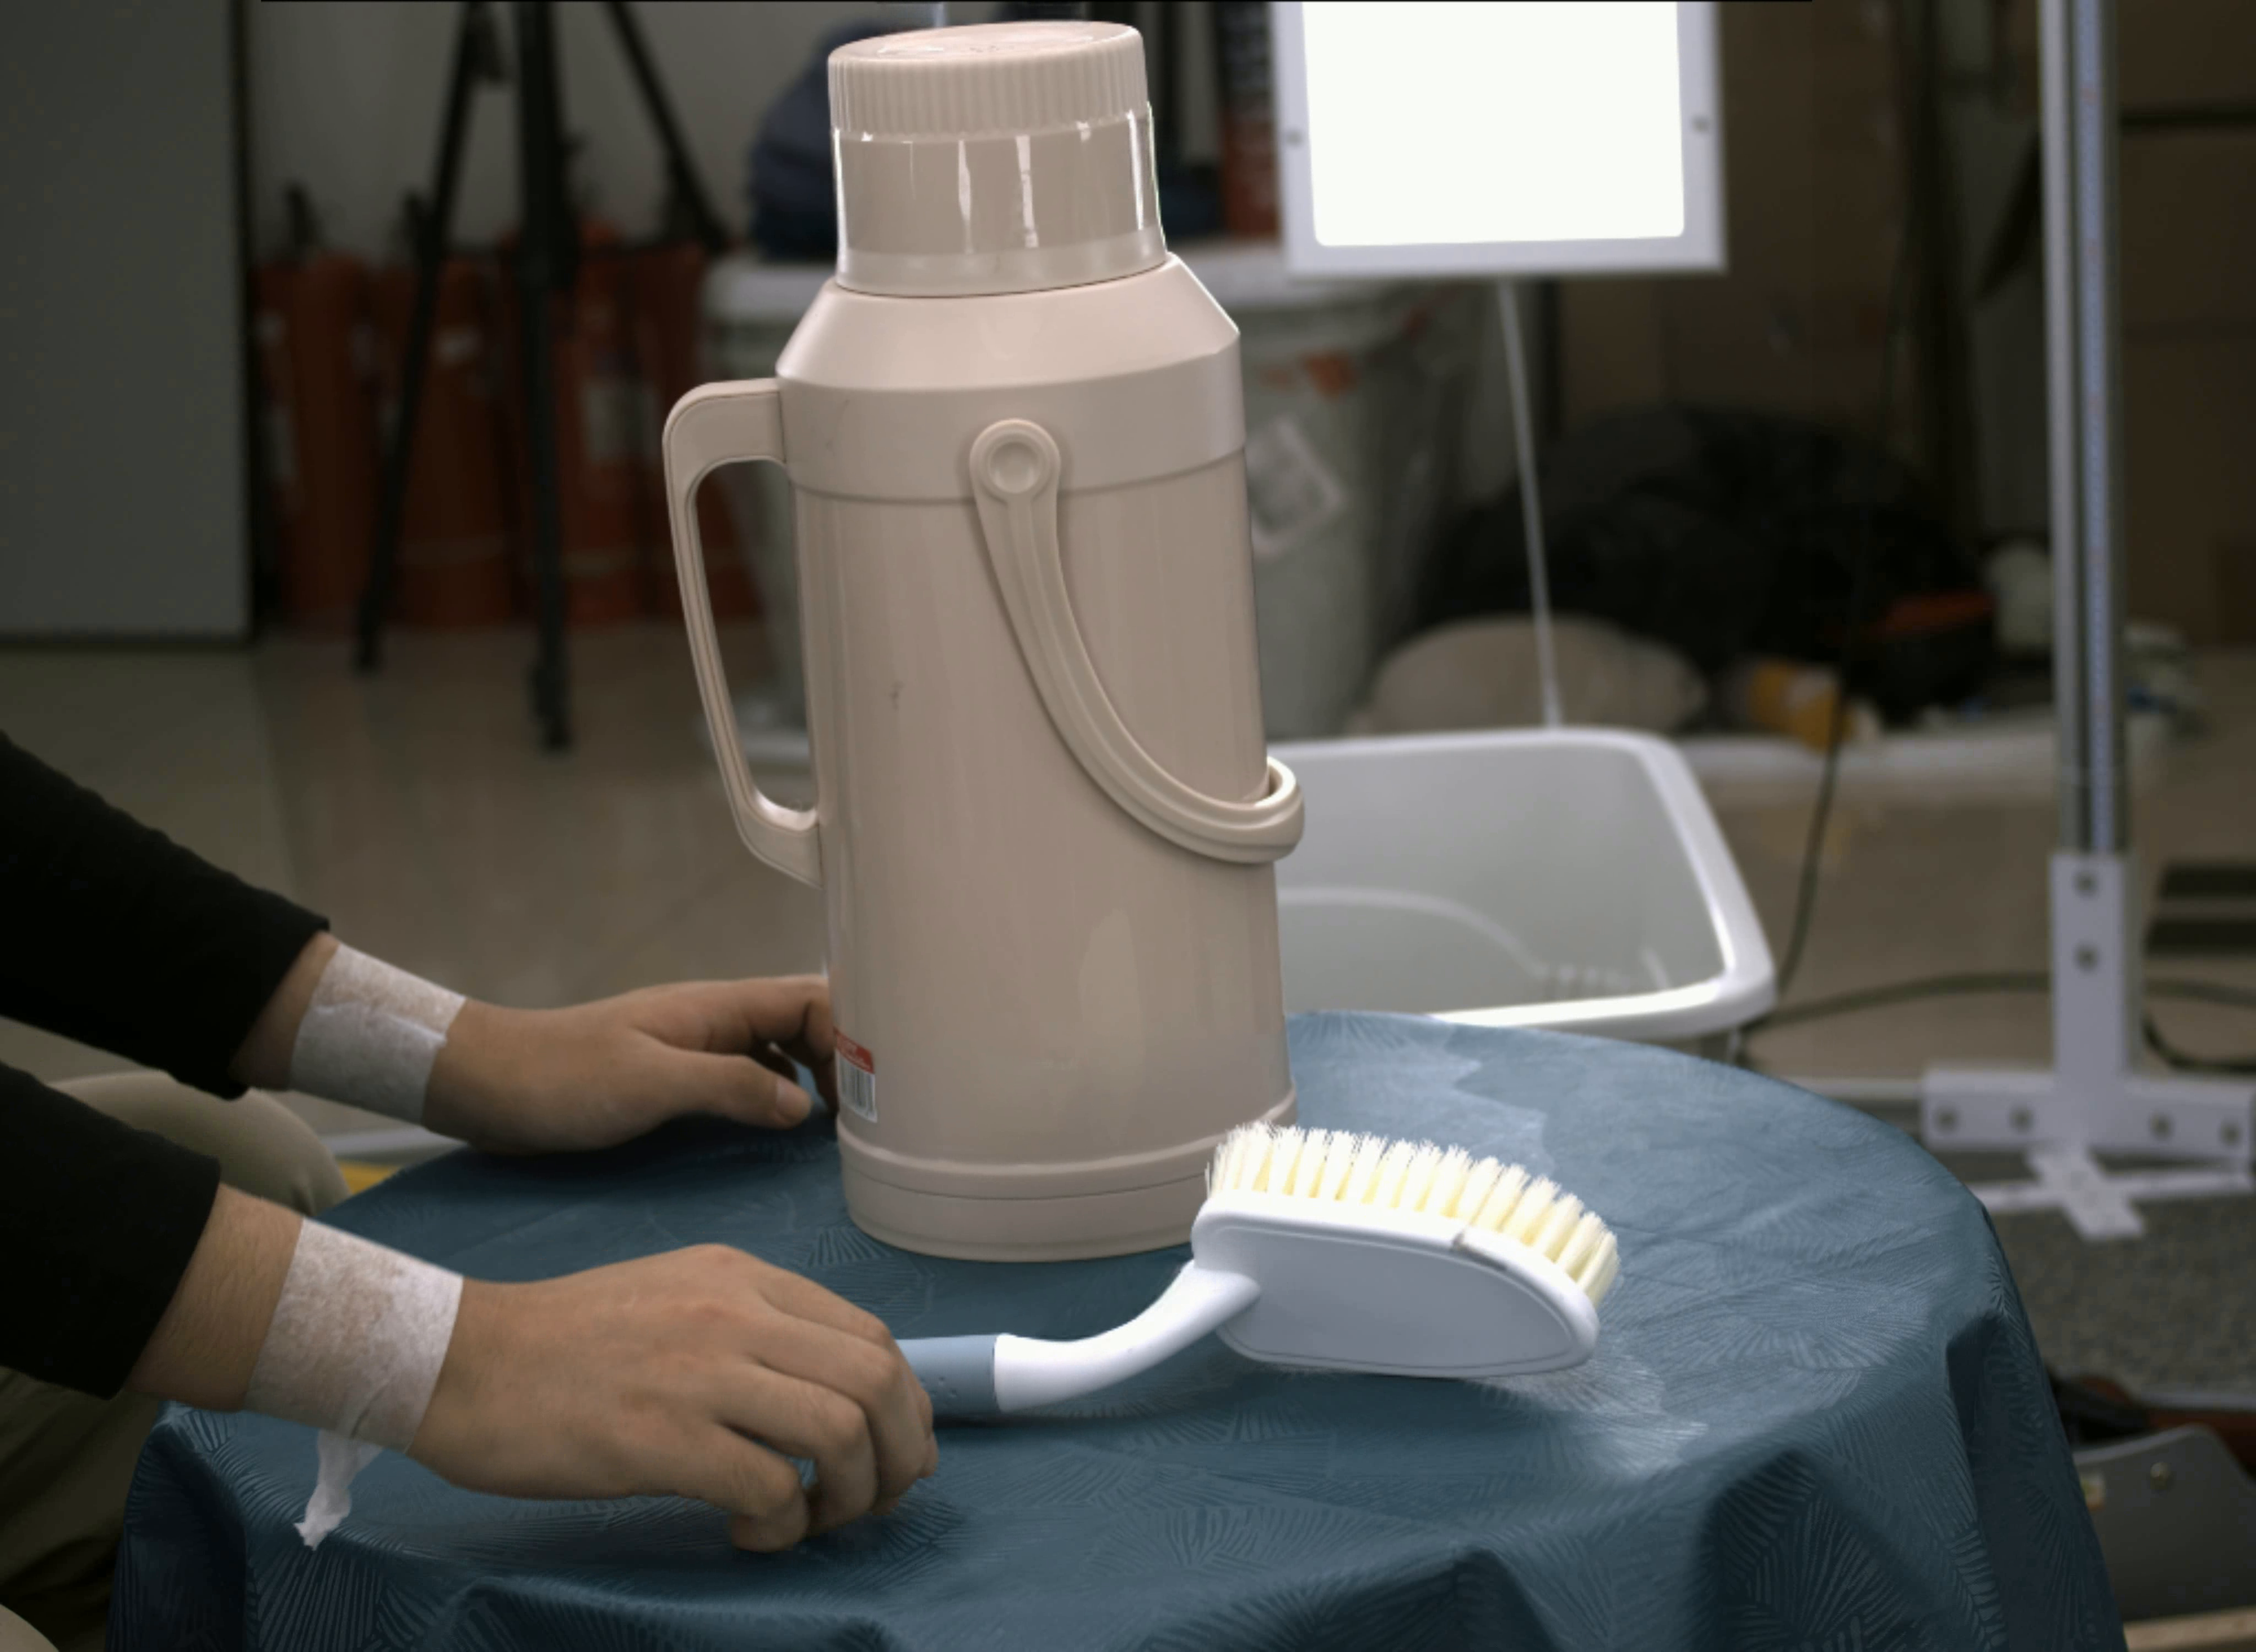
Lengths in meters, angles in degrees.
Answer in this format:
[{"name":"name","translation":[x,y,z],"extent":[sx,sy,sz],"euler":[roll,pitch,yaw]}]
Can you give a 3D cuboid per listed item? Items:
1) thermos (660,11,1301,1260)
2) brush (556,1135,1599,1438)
[{"name":"thermos","translation":[-0.048,-0.065,1.862],"extent":[0.206,0.408,0.175],"euler":[-4,15,0]},{"name":"brush","translation":[-0.016,0.139,1.701],"extent":[0.328,0.083,0.083],"euler":[-3,2,13]}]
